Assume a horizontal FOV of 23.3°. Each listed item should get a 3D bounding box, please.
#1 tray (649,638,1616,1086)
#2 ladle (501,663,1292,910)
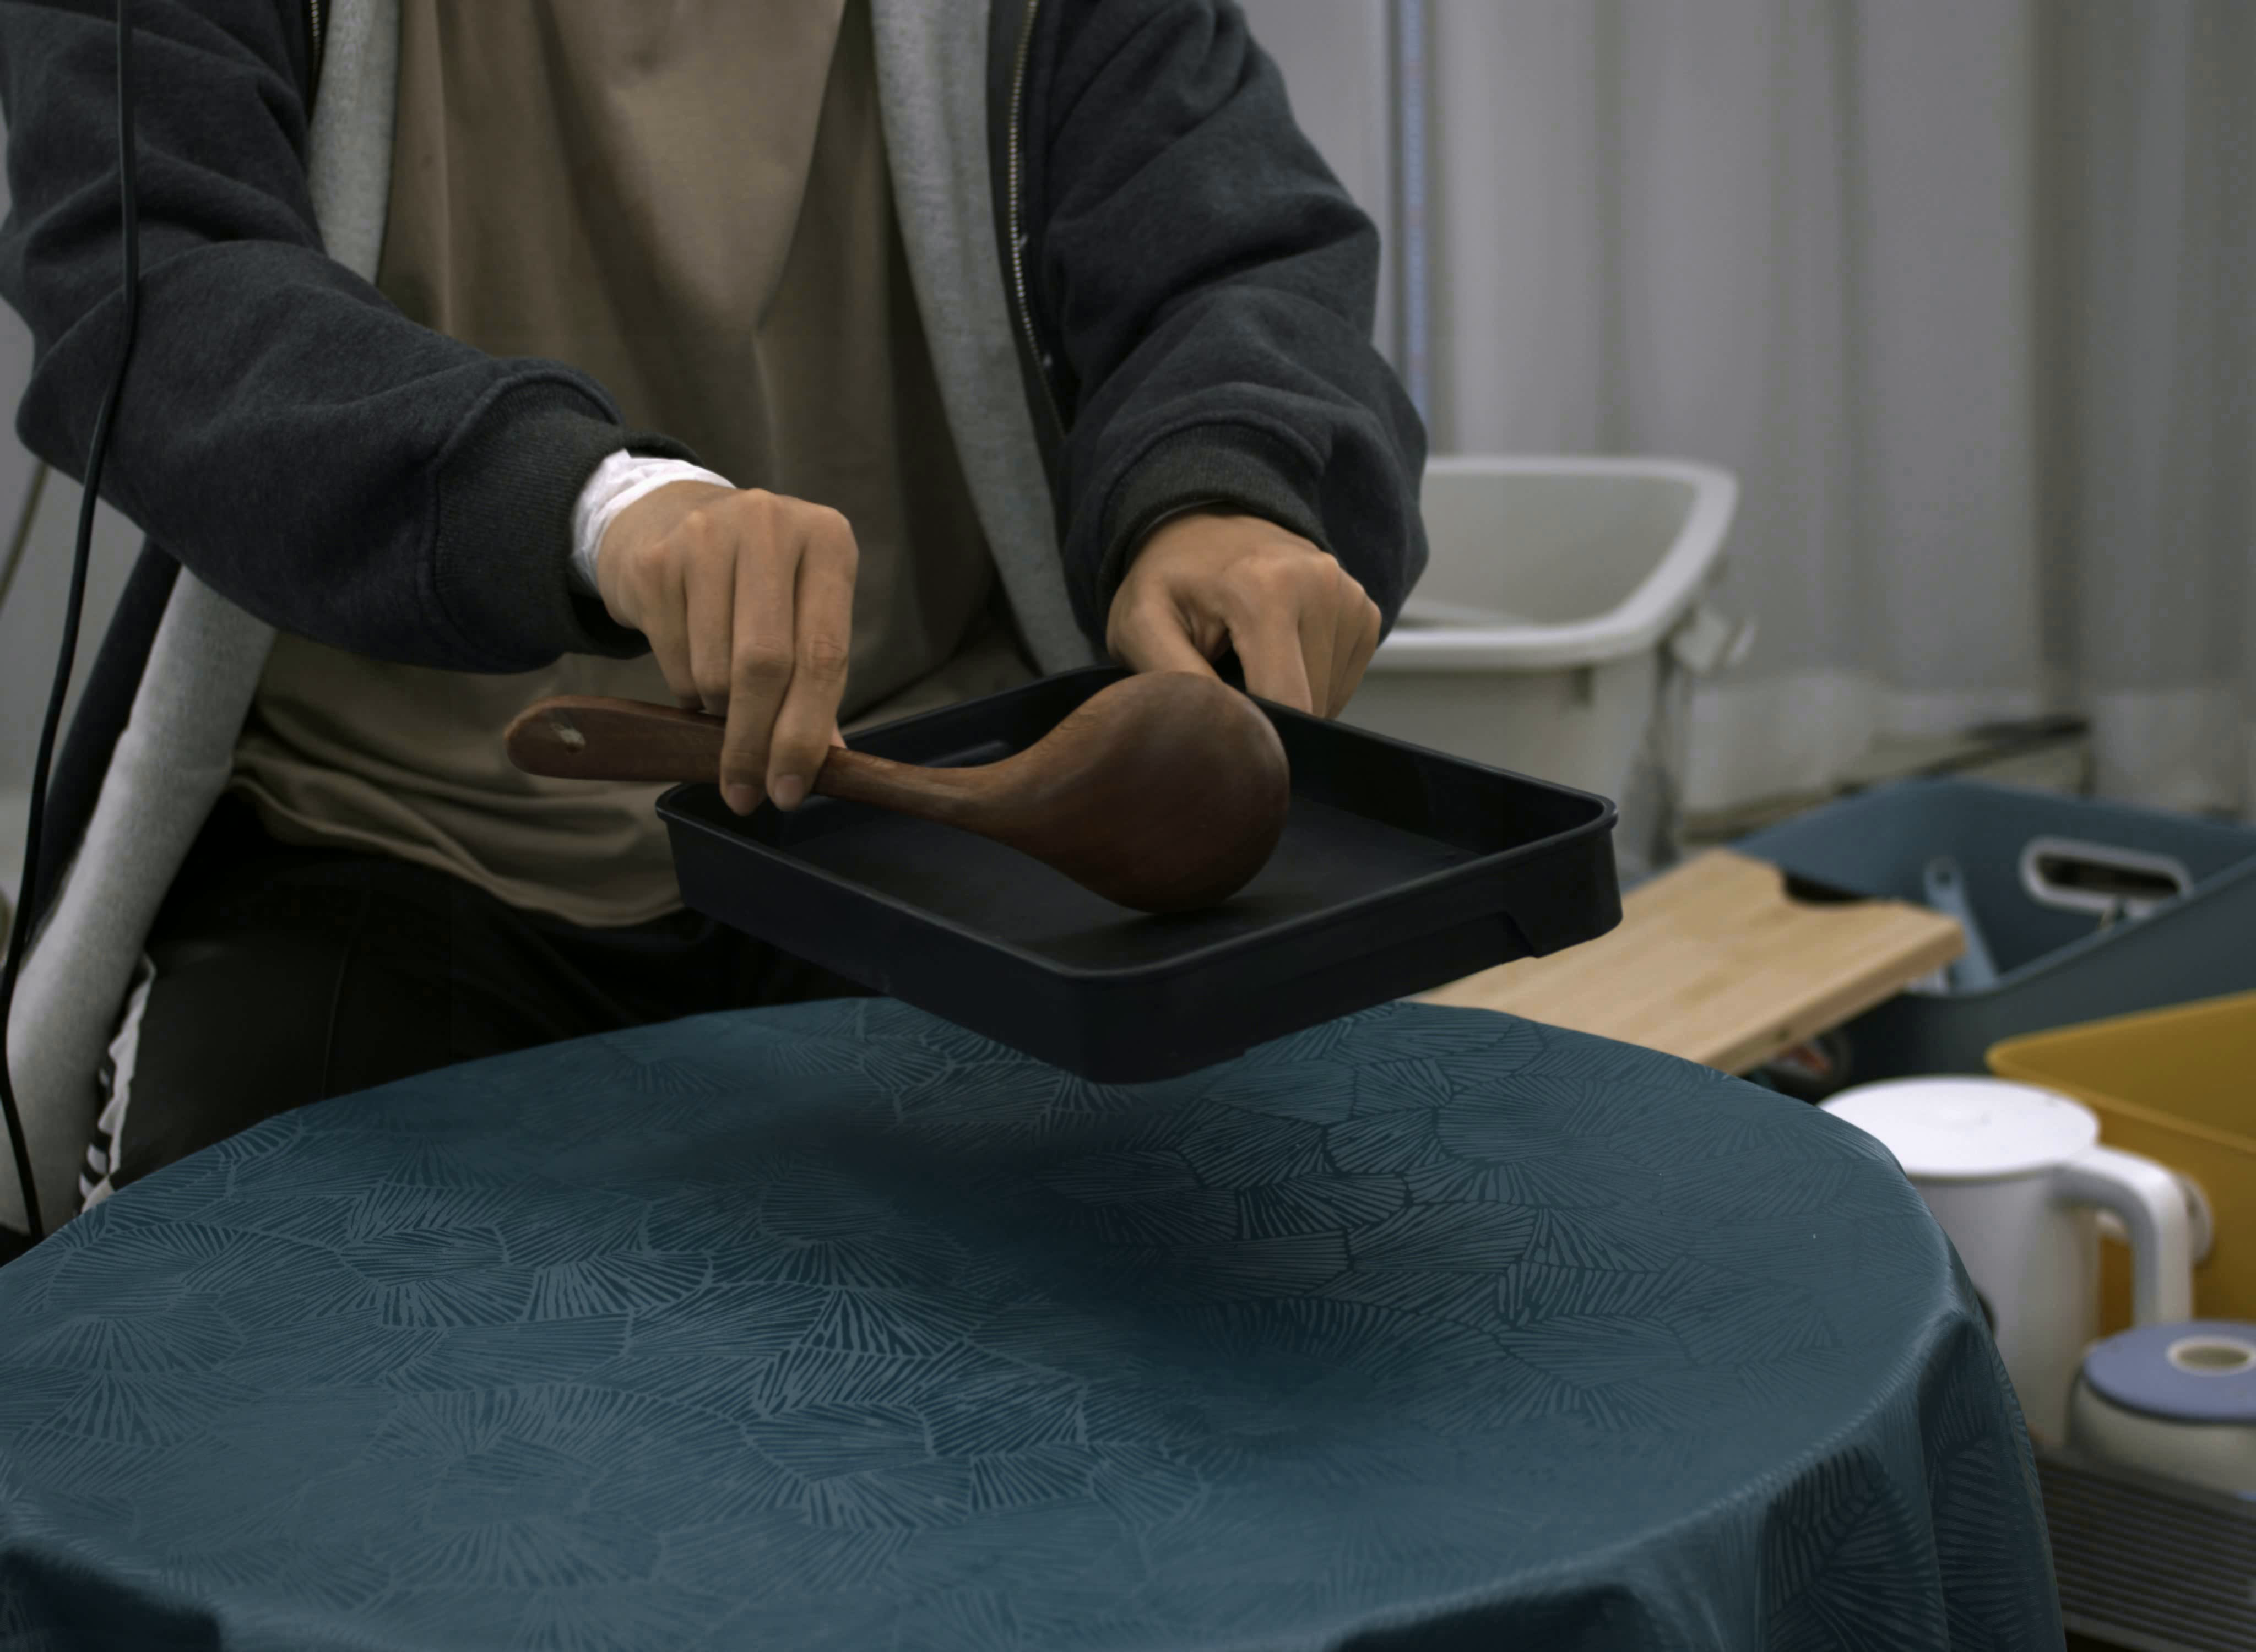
[{"bbox_3d":[-0.005,0.006,1.671,0.184,0.037,0.320,-17,19,-25],"label":"tray"},{"bbox_3d":[-0.072,-0.021,1.683,0.261,0.076,0.065,7,17,30],"label":"ladle"}]
